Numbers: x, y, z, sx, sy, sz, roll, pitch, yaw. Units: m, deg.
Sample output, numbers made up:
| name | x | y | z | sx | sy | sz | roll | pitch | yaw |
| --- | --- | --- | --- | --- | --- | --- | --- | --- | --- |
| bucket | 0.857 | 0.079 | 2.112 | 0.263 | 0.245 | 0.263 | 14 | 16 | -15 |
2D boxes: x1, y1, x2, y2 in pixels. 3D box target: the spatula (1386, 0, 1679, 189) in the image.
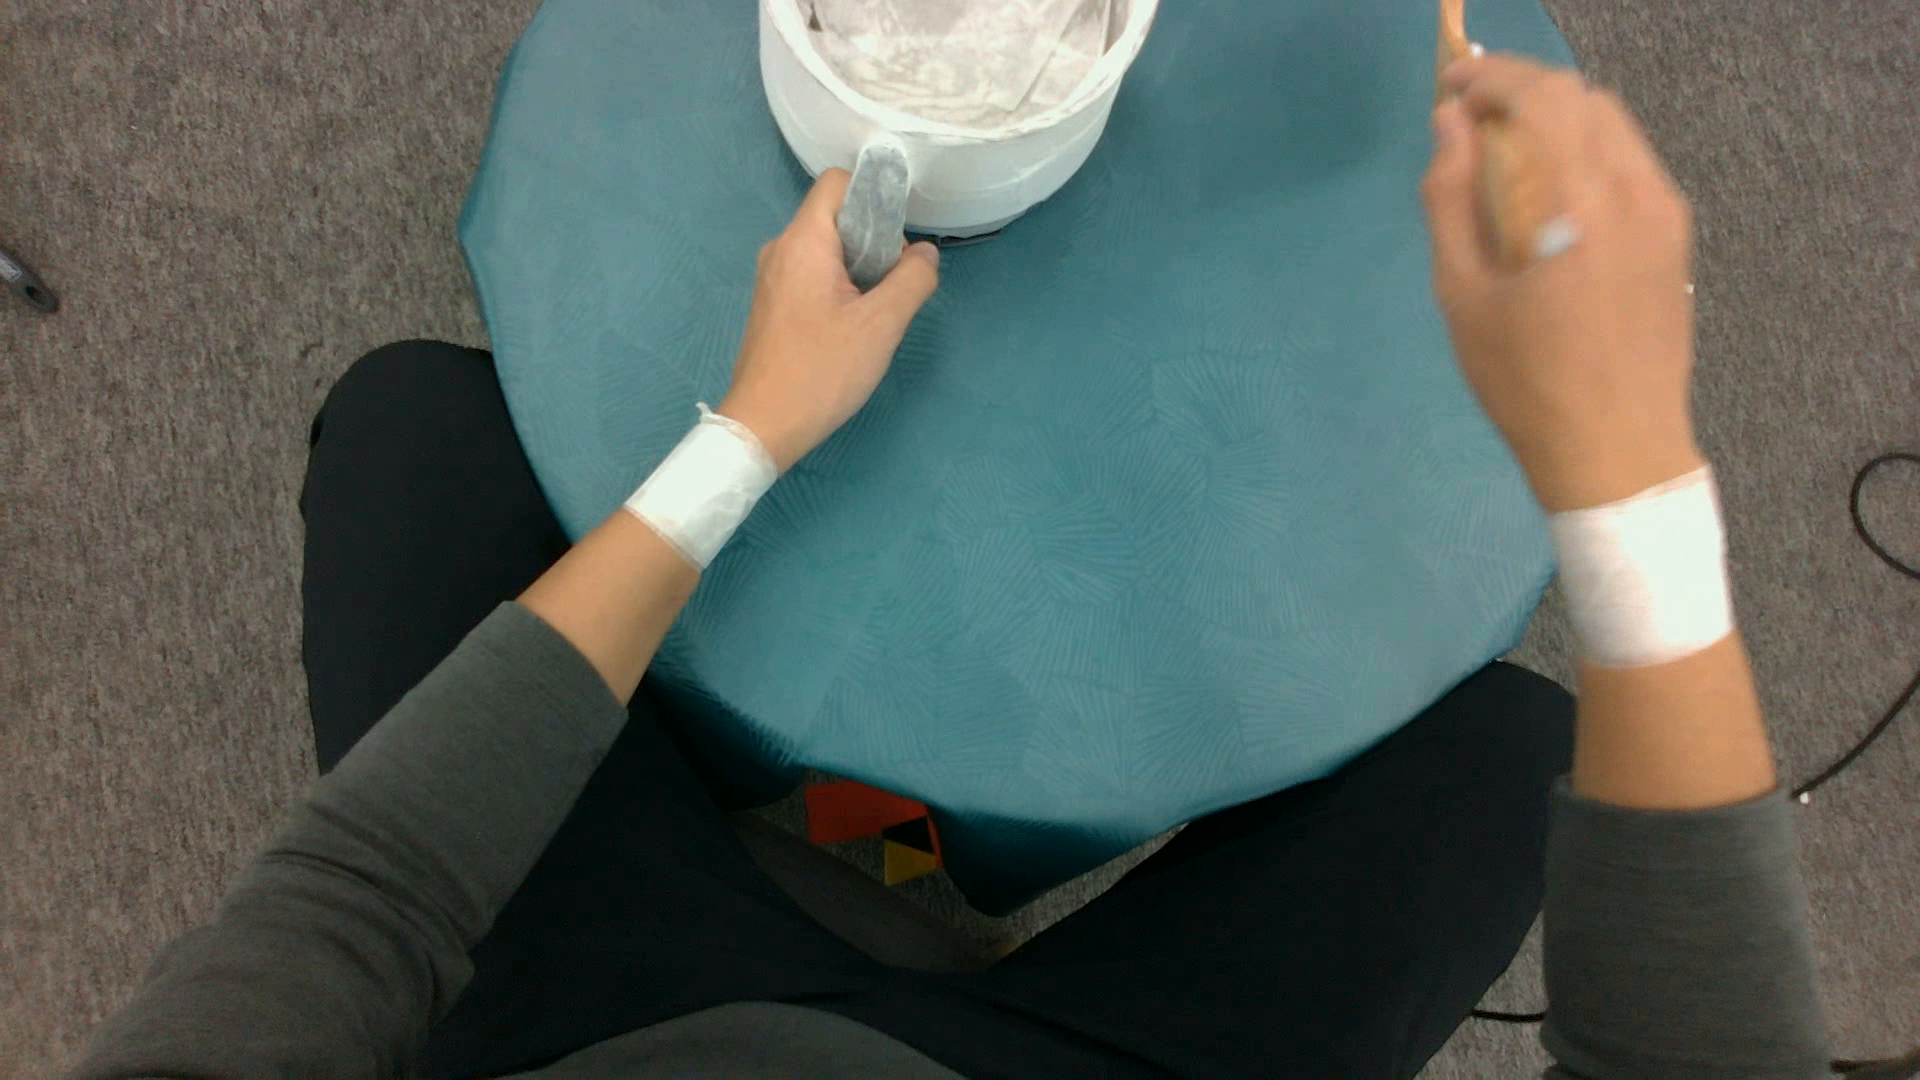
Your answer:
| name | x | y | z | sx | sy | sz | roll | pitch | yaw |
| --- | --- | --- | --- | --- | --- | --- | --- | --- | --- |
| spatula | 0.188 | -0.167 | 0.496 | 0.018 | 0.392 | 0.095 | 5 | 114 | 5 |

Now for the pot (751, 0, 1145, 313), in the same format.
| name | x | y | z | sx | sy | sz | roll | pitch | yaw |
| --- | --- | --- | --- | --- | --- | --- | --- | --- | --- |
| pot | -0.018 | -0.226 | 0.644 | 0.179 | 0.136 | 0.234 | 18 | 81 | -4 |
